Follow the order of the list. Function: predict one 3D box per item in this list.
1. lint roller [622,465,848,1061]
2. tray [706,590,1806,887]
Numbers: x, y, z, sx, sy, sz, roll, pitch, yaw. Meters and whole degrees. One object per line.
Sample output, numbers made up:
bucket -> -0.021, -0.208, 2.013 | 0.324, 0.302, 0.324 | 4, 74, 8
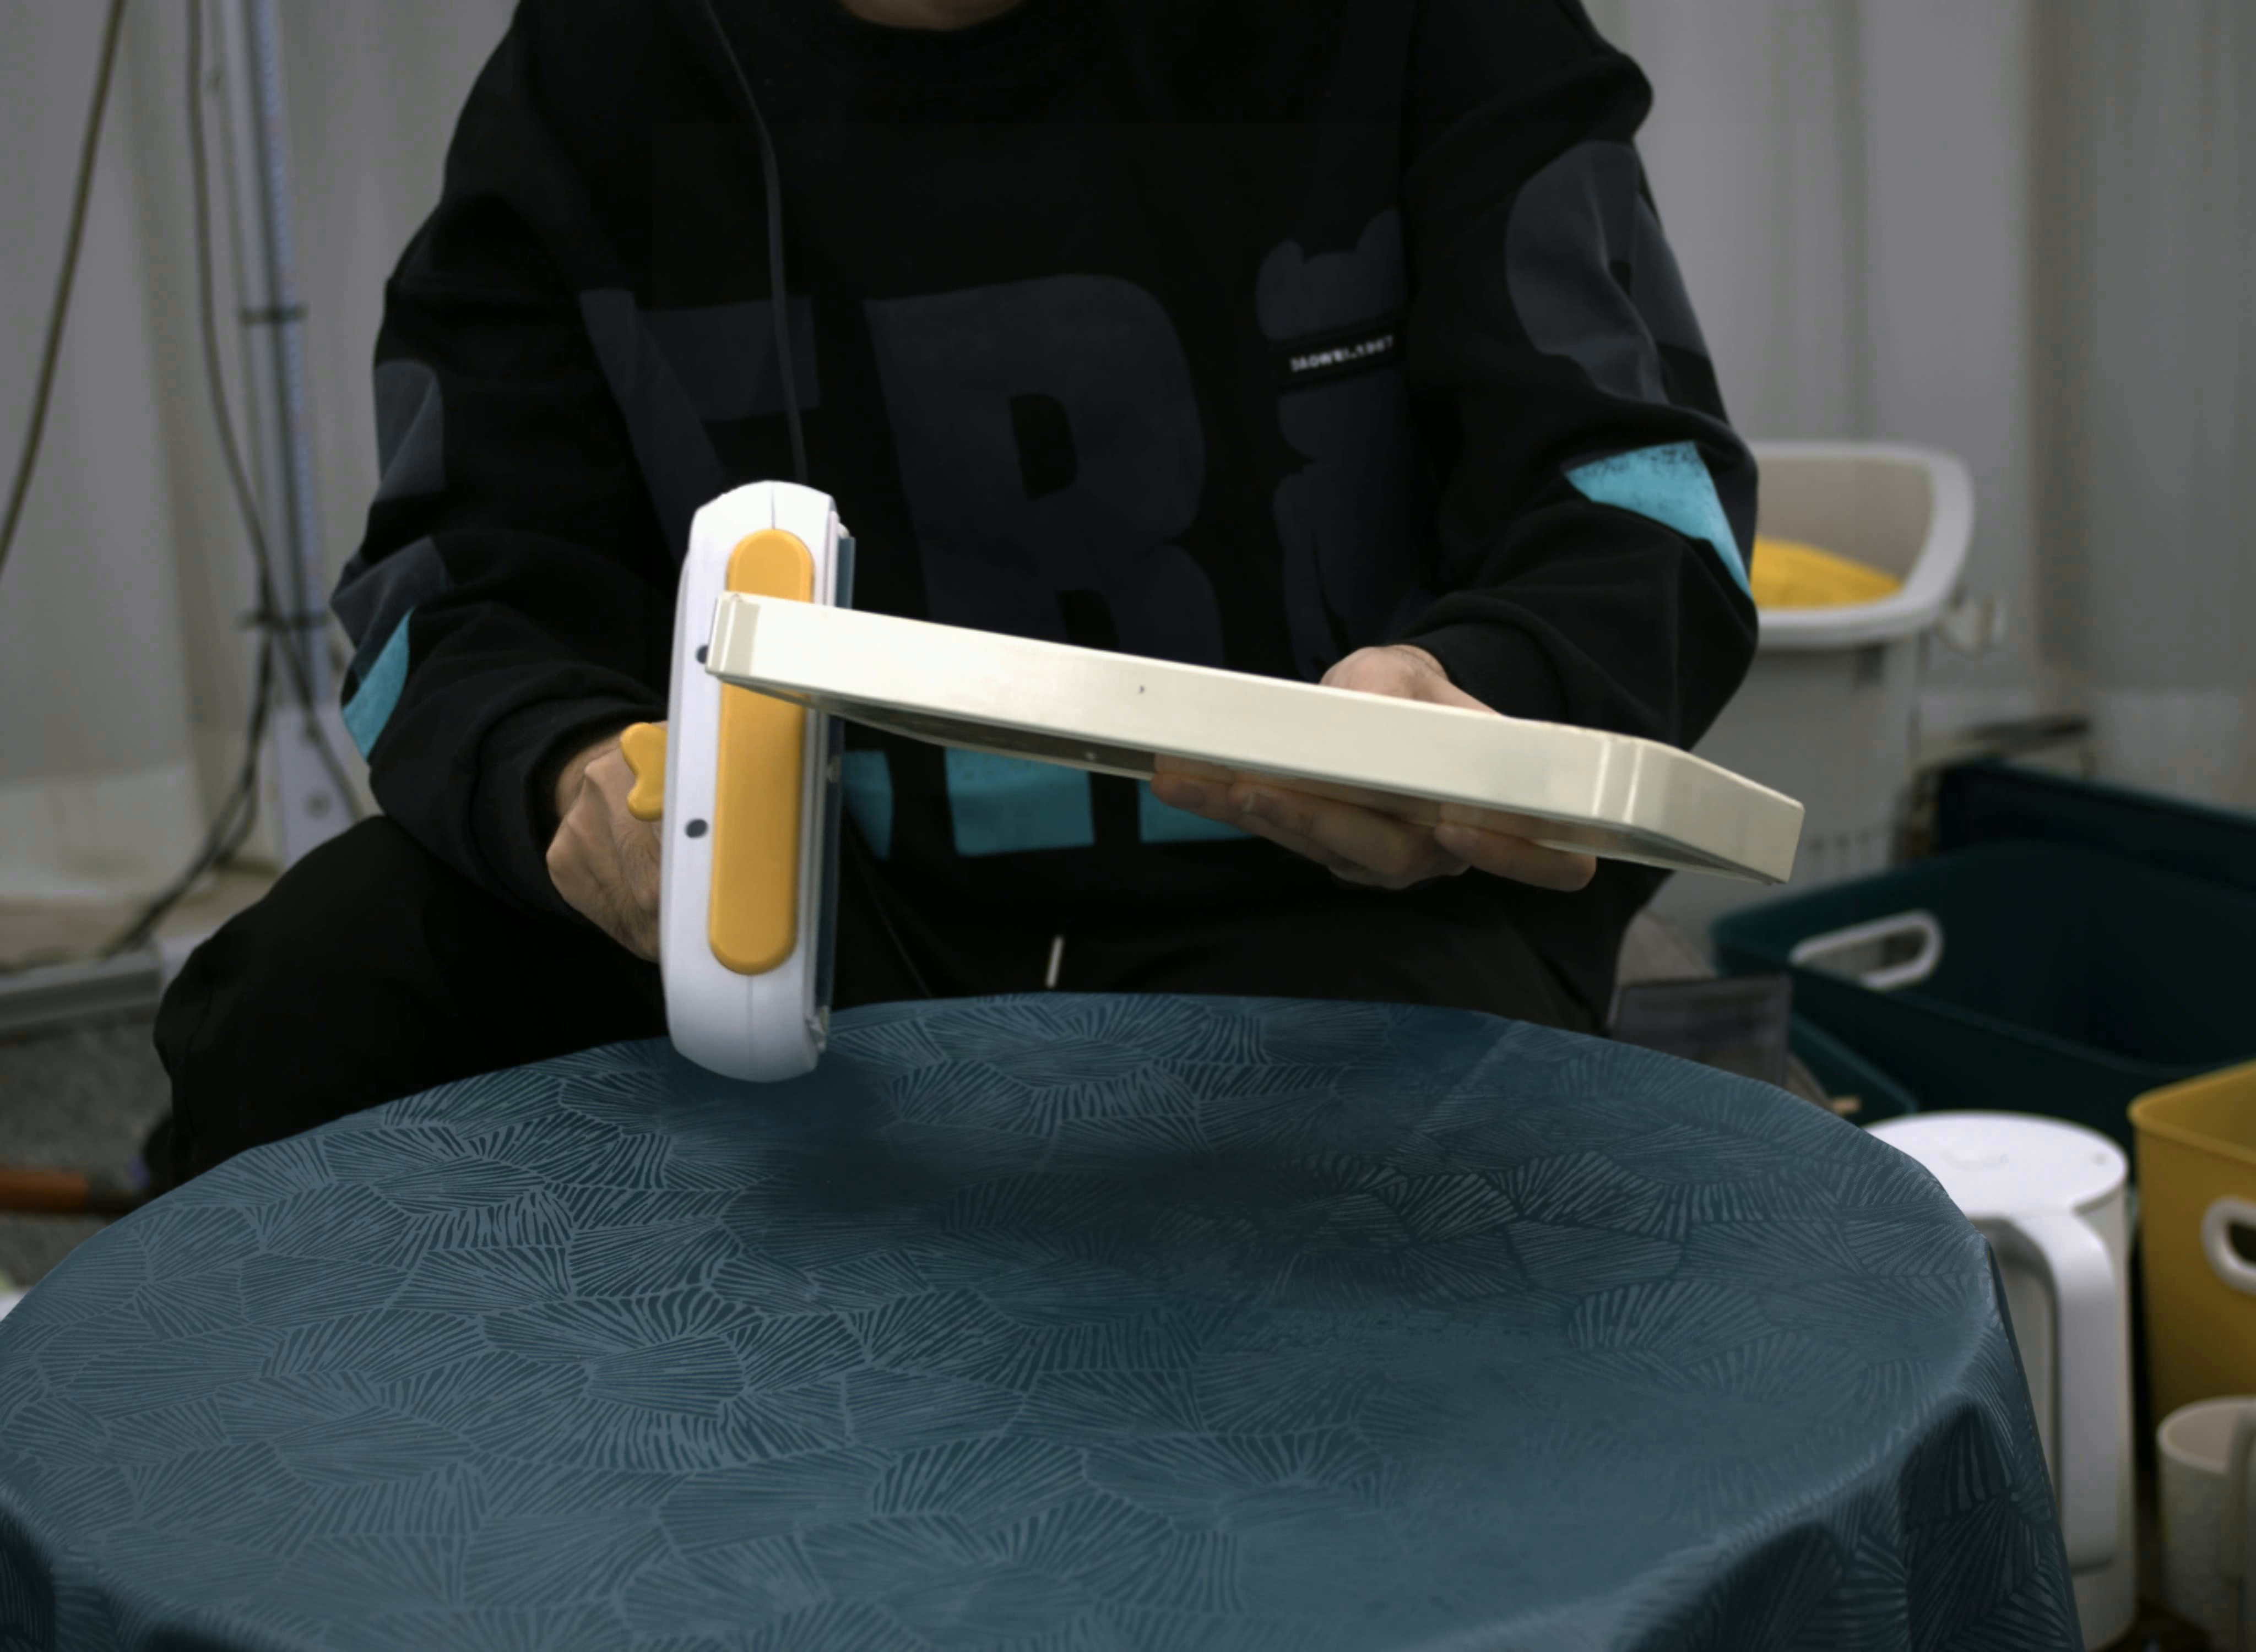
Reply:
lint roller -> -0.130, 0.000, 1.791 | 0.074, 0.195, 0.191 | -1, -21, -8
tray -> 0.040, -0.025, 1.648 | 0.301, 0.027, 0.190 | 10, -3, 22
